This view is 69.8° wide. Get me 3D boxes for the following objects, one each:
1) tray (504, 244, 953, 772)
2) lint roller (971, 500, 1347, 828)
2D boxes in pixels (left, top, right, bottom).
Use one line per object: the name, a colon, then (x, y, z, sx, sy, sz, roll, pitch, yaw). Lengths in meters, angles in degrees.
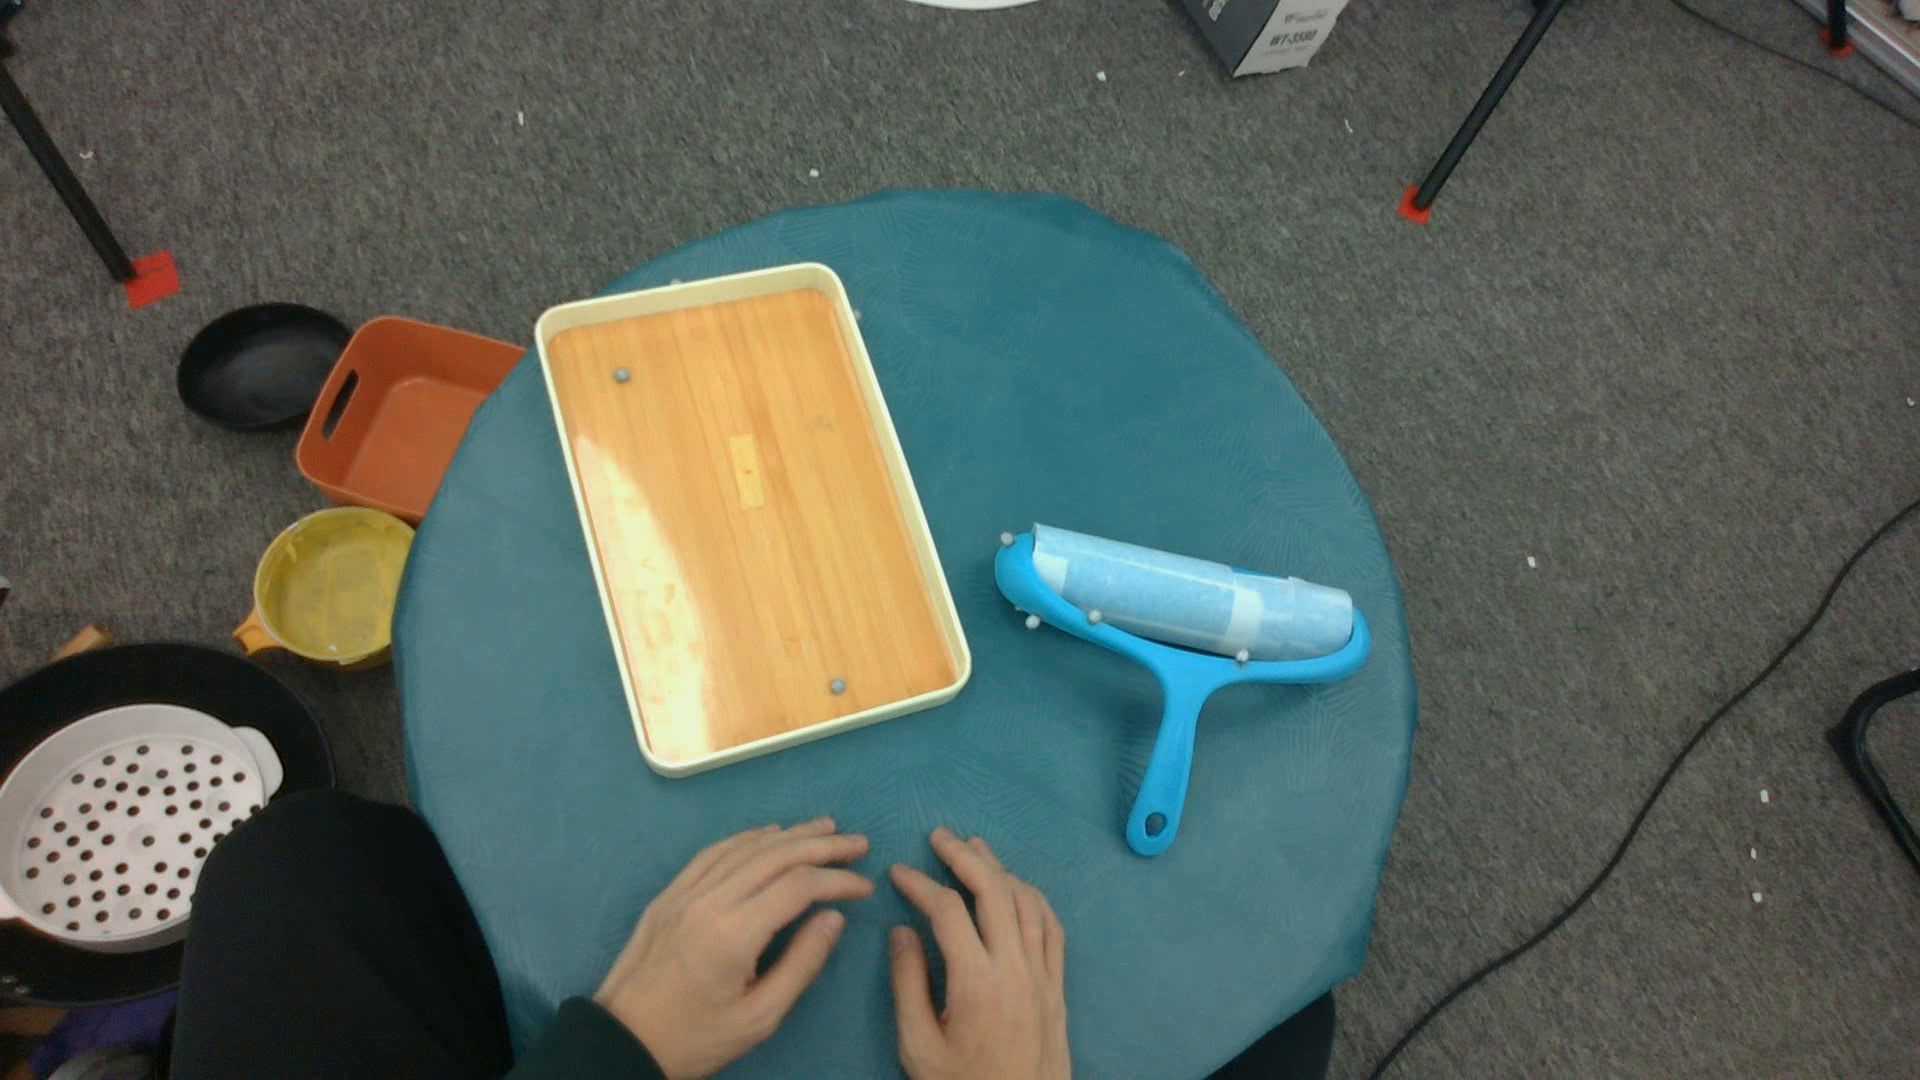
tray: (-0.139, -0.030, 0.809, 0.192, 0.027, 0.301, -15, 70, -16)
lint roller: (0.116, 0.071, 0.797, 0.229, 0.067, 0.181, 8, 65, -9)
